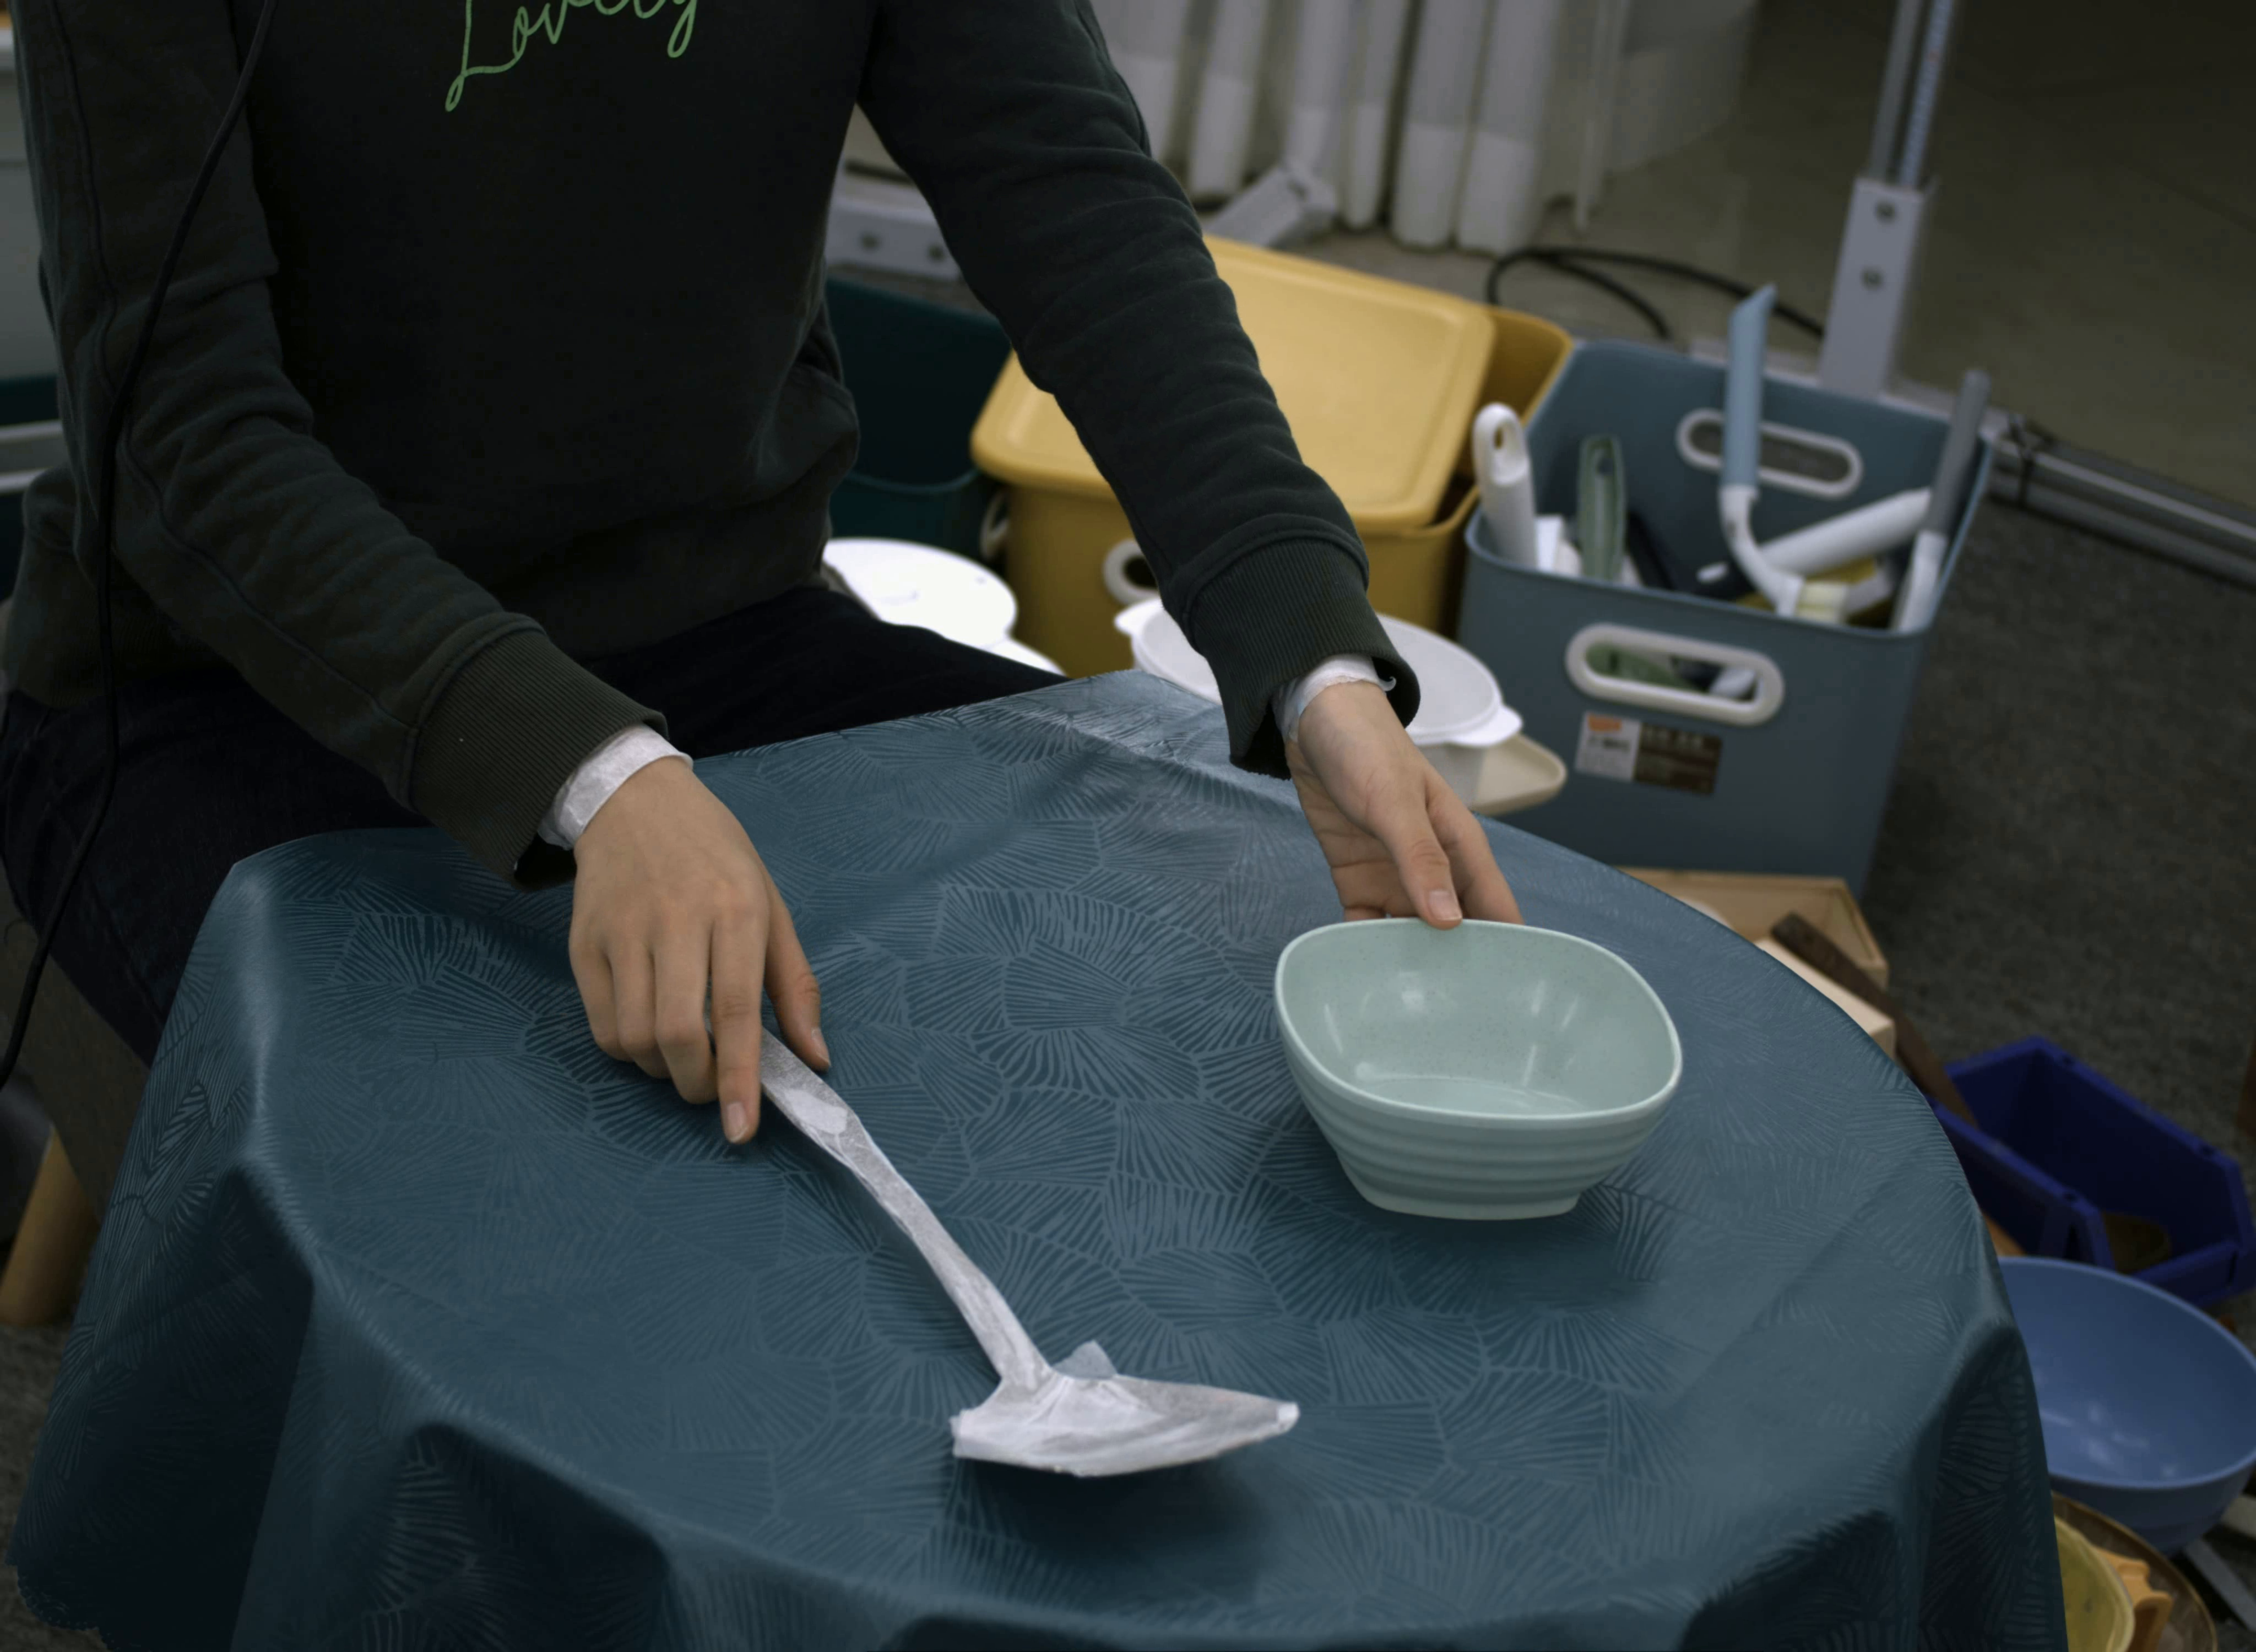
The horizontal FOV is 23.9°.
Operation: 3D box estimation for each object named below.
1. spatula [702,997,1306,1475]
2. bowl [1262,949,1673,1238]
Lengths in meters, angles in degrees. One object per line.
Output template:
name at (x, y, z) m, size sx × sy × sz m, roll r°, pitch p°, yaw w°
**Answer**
spatula at (-0.065, 0.125, 1.739) m, size 0.098 × 0.044 × 0.368 m, roll -10°, pitch 31°, yaw -26°
bowl at (0.113, 0.097, 1.830) m, size 0.151 × 0.058 × 0.152 m, roll 5°, pitch 22°, yaw -3°
